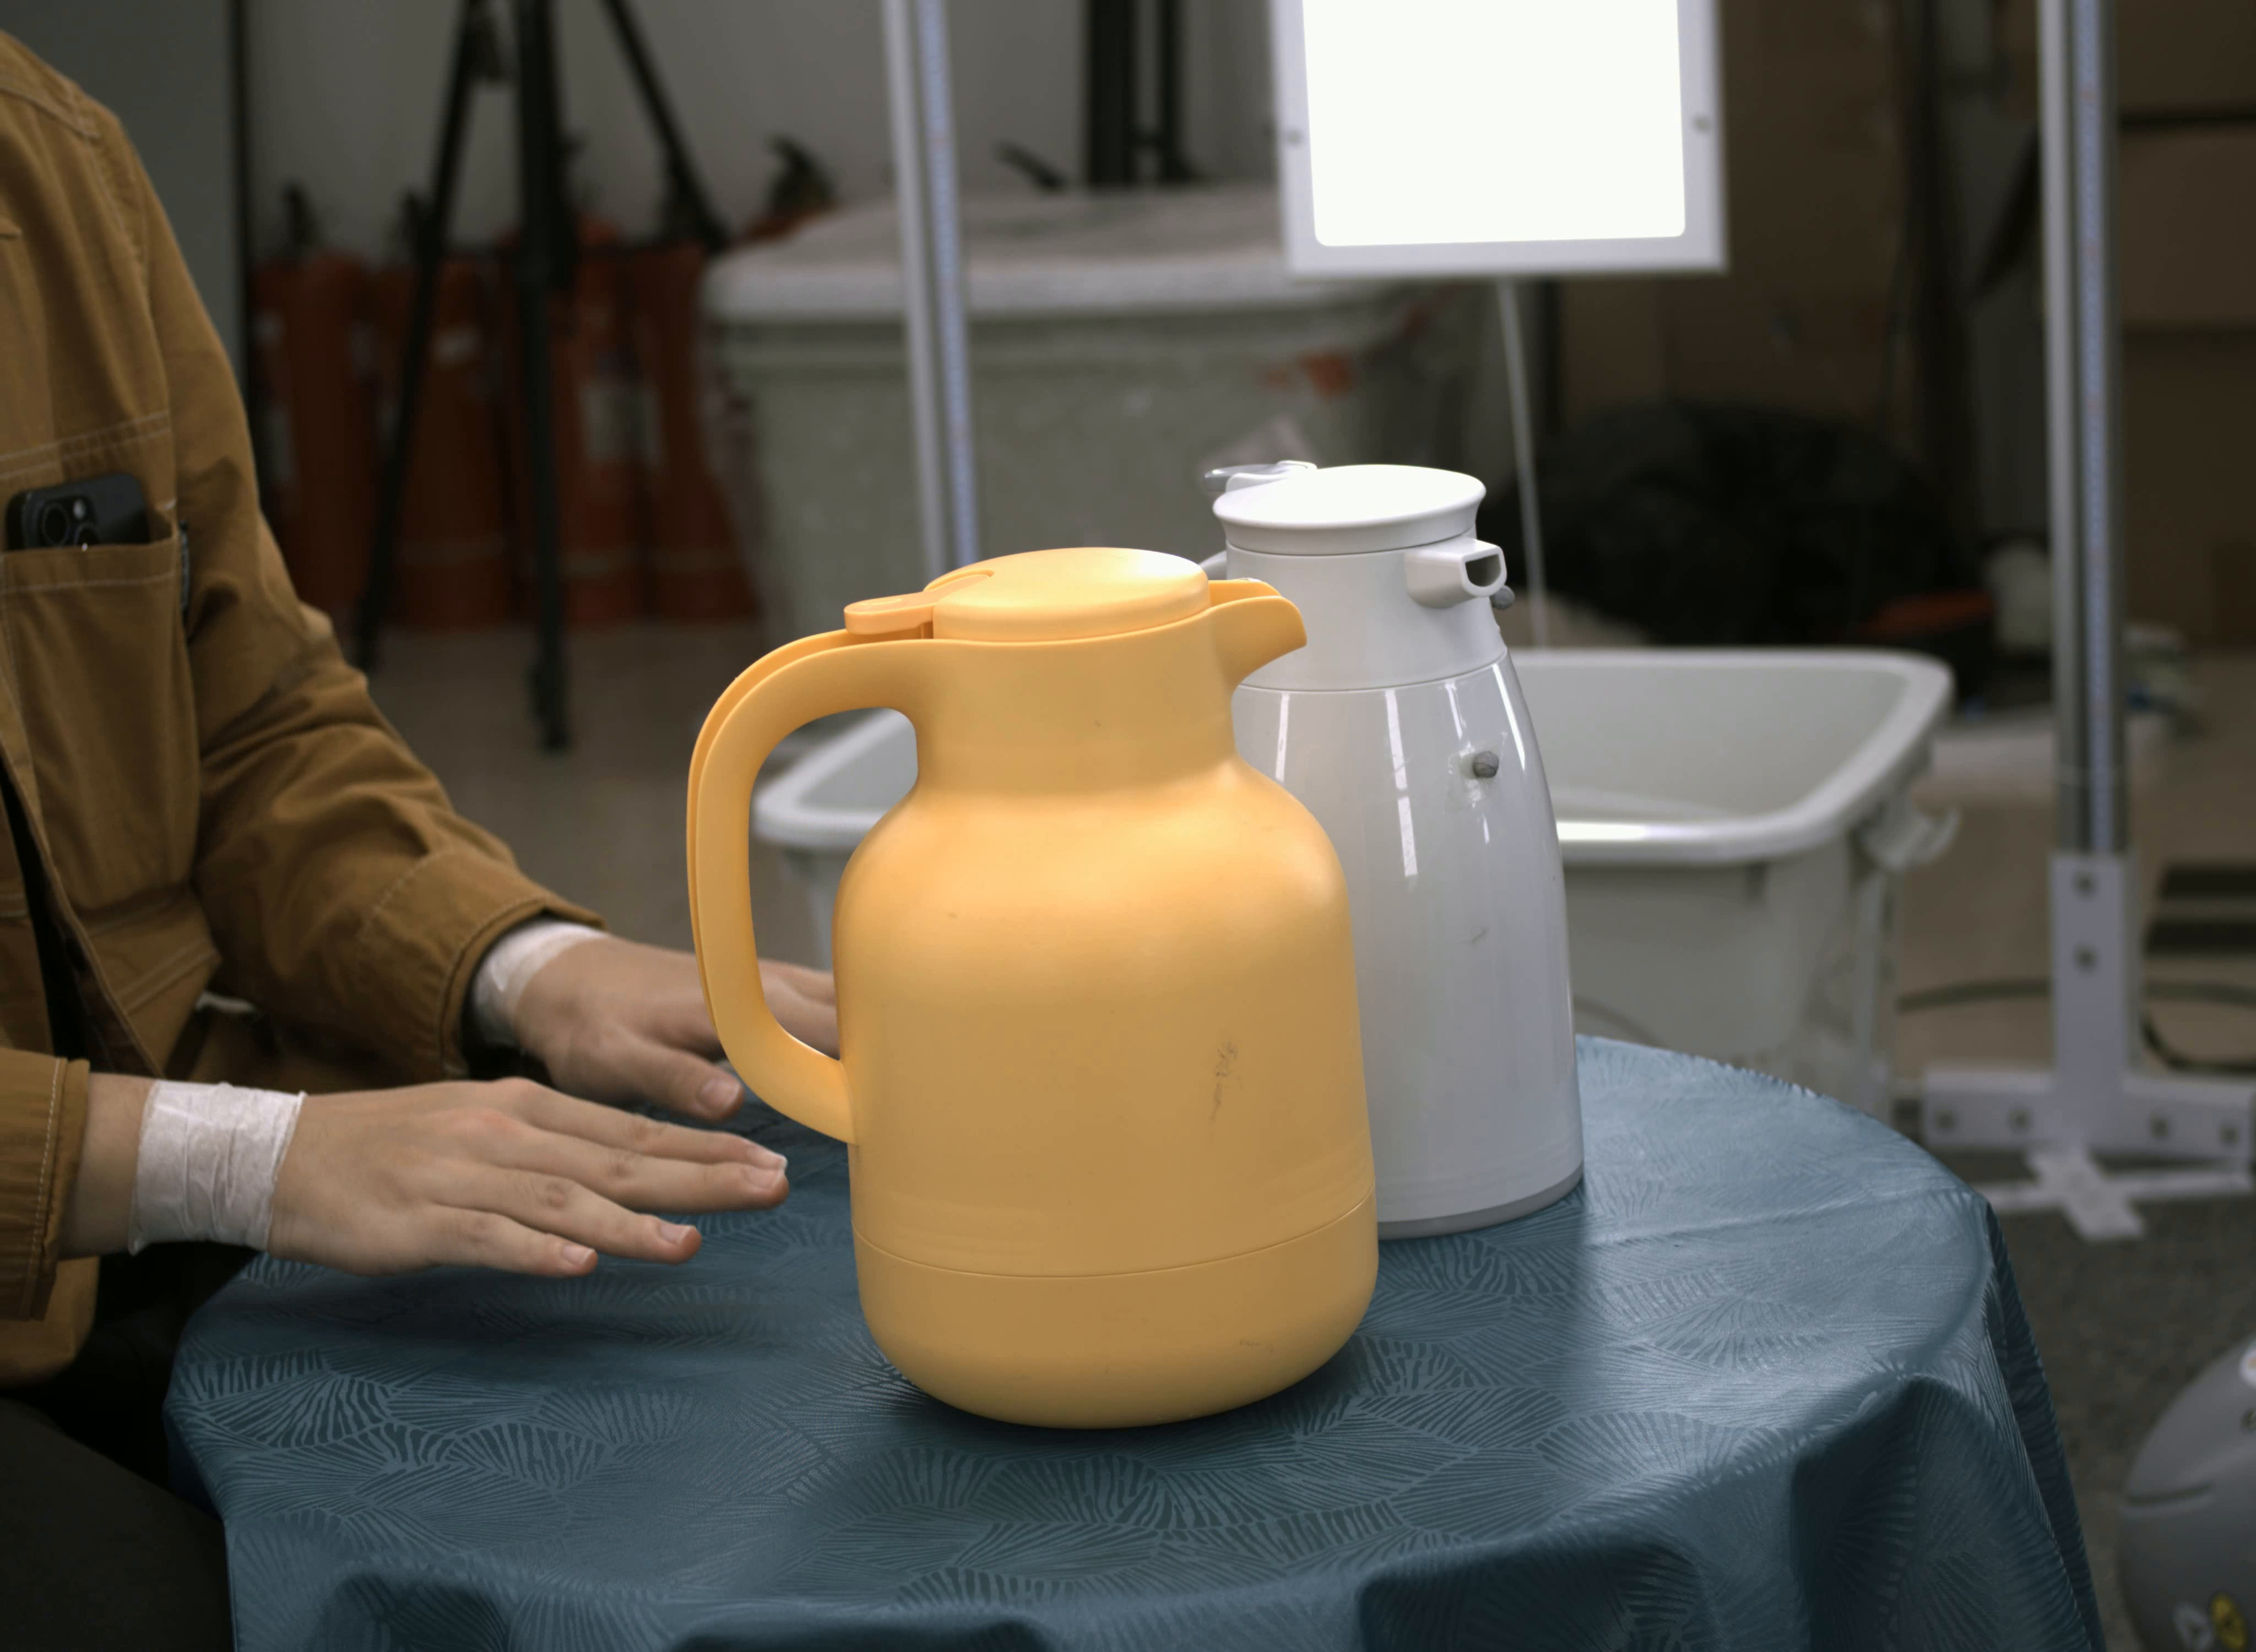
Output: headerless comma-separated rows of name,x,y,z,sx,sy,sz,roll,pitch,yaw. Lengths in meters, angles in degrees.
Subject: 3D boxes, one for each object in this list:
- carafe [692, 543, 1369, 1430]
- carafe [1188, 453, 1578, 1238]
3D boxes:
carafe,-0.030,0.047,1.690,0.201,0.261,0.164,-5,12,-7
carafe,0.068,-0.001,1.869,0.129,0.249,0.171,-16,17,-39
